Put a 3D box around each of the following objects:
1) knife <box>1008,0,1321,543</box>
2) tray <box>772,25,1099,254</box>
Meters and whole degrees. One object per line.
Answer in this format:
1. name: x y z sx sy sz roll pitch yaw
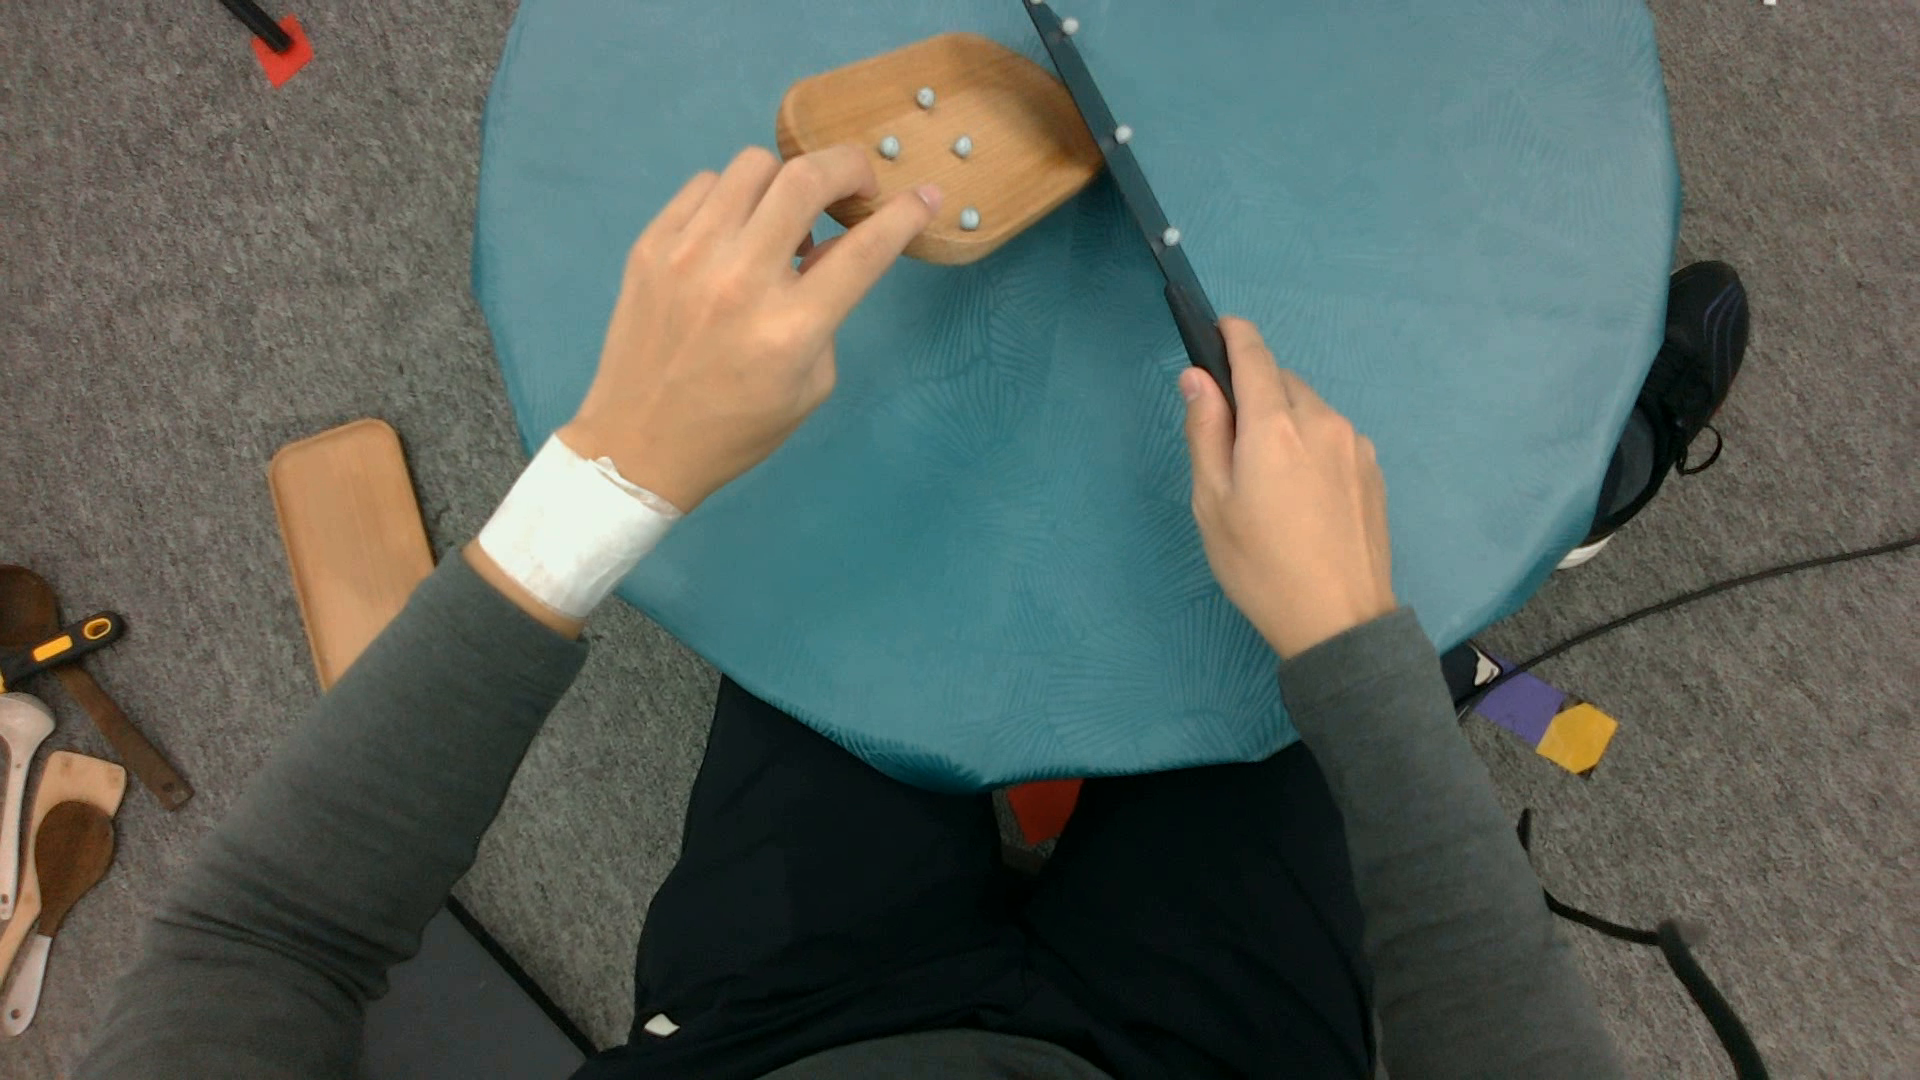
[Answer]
1. knife: 0.091 -0.135 0.637 0.021 0.081 0.303 -31 73 24
2. tray: -0.004 -0.181 0.608 0.101 0.232 0.020 39 125 1
